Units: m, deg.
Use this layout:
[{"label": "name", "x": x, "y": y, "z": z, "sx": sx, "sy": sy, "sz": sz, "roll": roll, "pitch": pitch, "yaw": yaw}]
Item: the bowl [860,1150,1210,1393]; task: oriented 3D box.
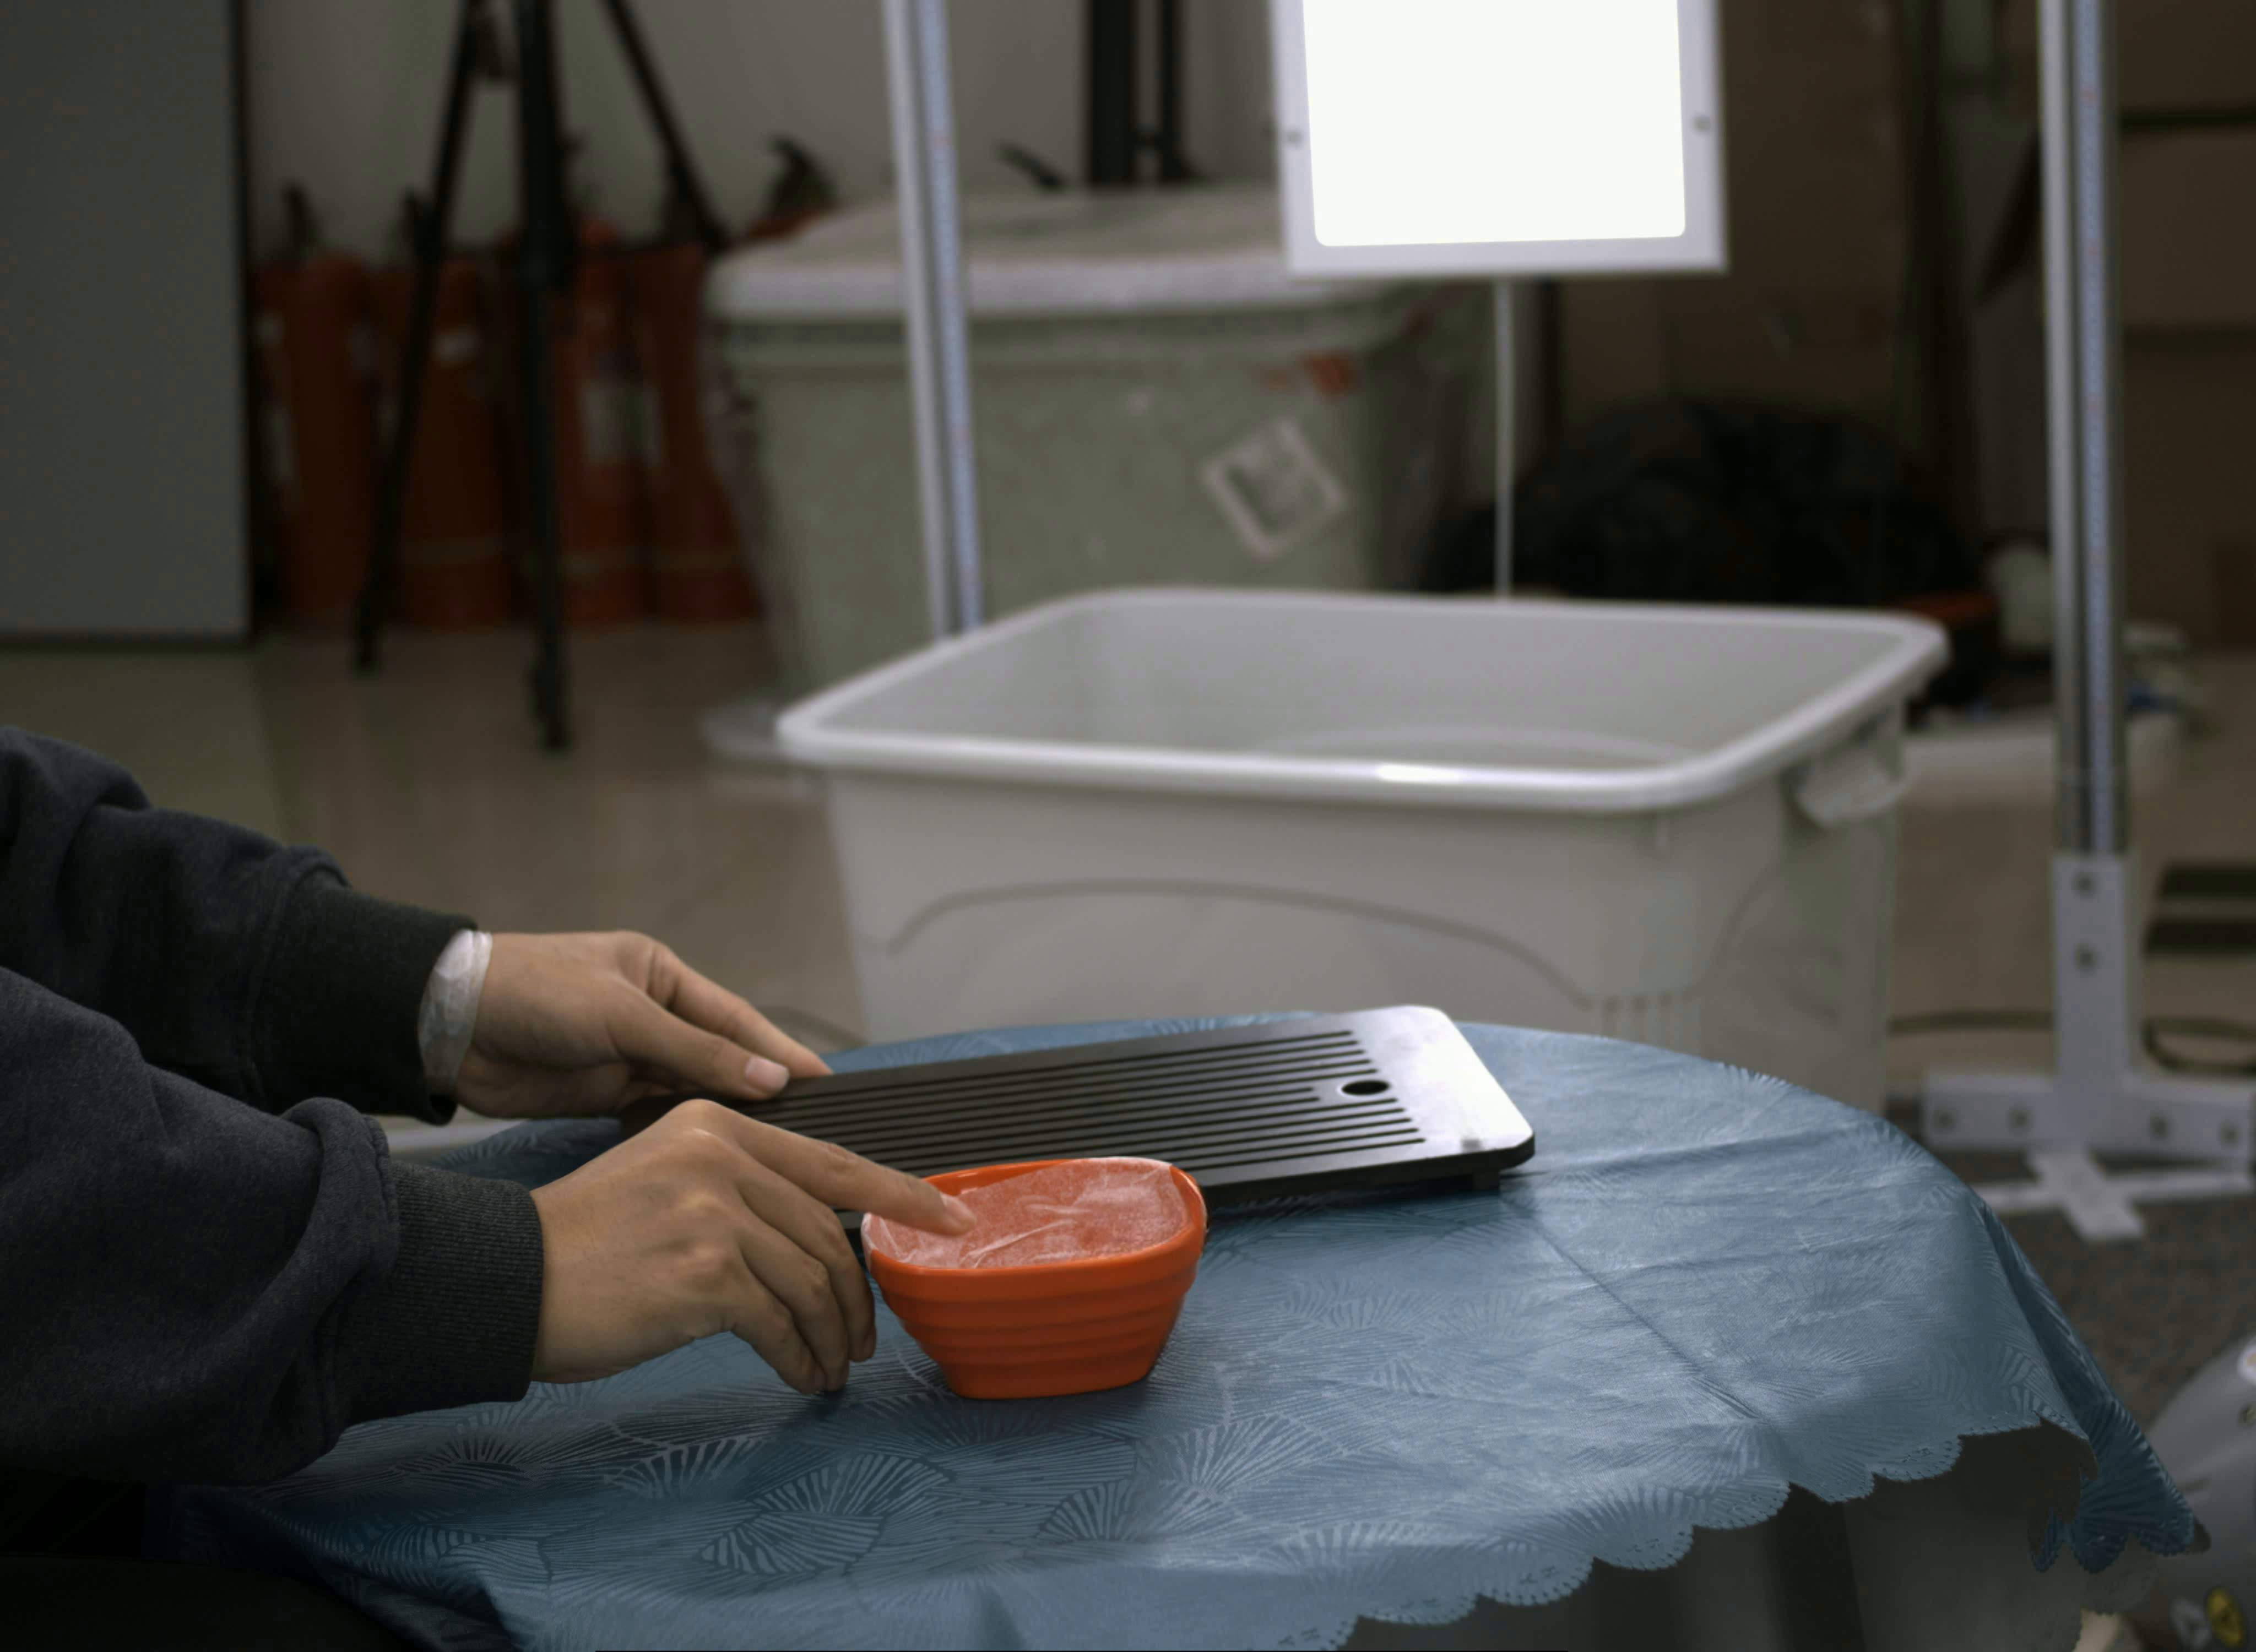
[{"label": "bowl", "x": -0.028, "y": 0.142, "z": 1.727, "sx": 0.118, "sy": 0.051, "sz": 0.119, "roll": -3, "pitch": 15, "yaw": -1}]

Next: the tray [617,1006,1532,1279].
[{"label": "tray", "x": -0.022, "y": 0.110, "z": 1.927, "sx": 0.303, "sy": 0.019, "sz": 0.171, "roll": -7, "pitch": 15, "yaw": -6}]
